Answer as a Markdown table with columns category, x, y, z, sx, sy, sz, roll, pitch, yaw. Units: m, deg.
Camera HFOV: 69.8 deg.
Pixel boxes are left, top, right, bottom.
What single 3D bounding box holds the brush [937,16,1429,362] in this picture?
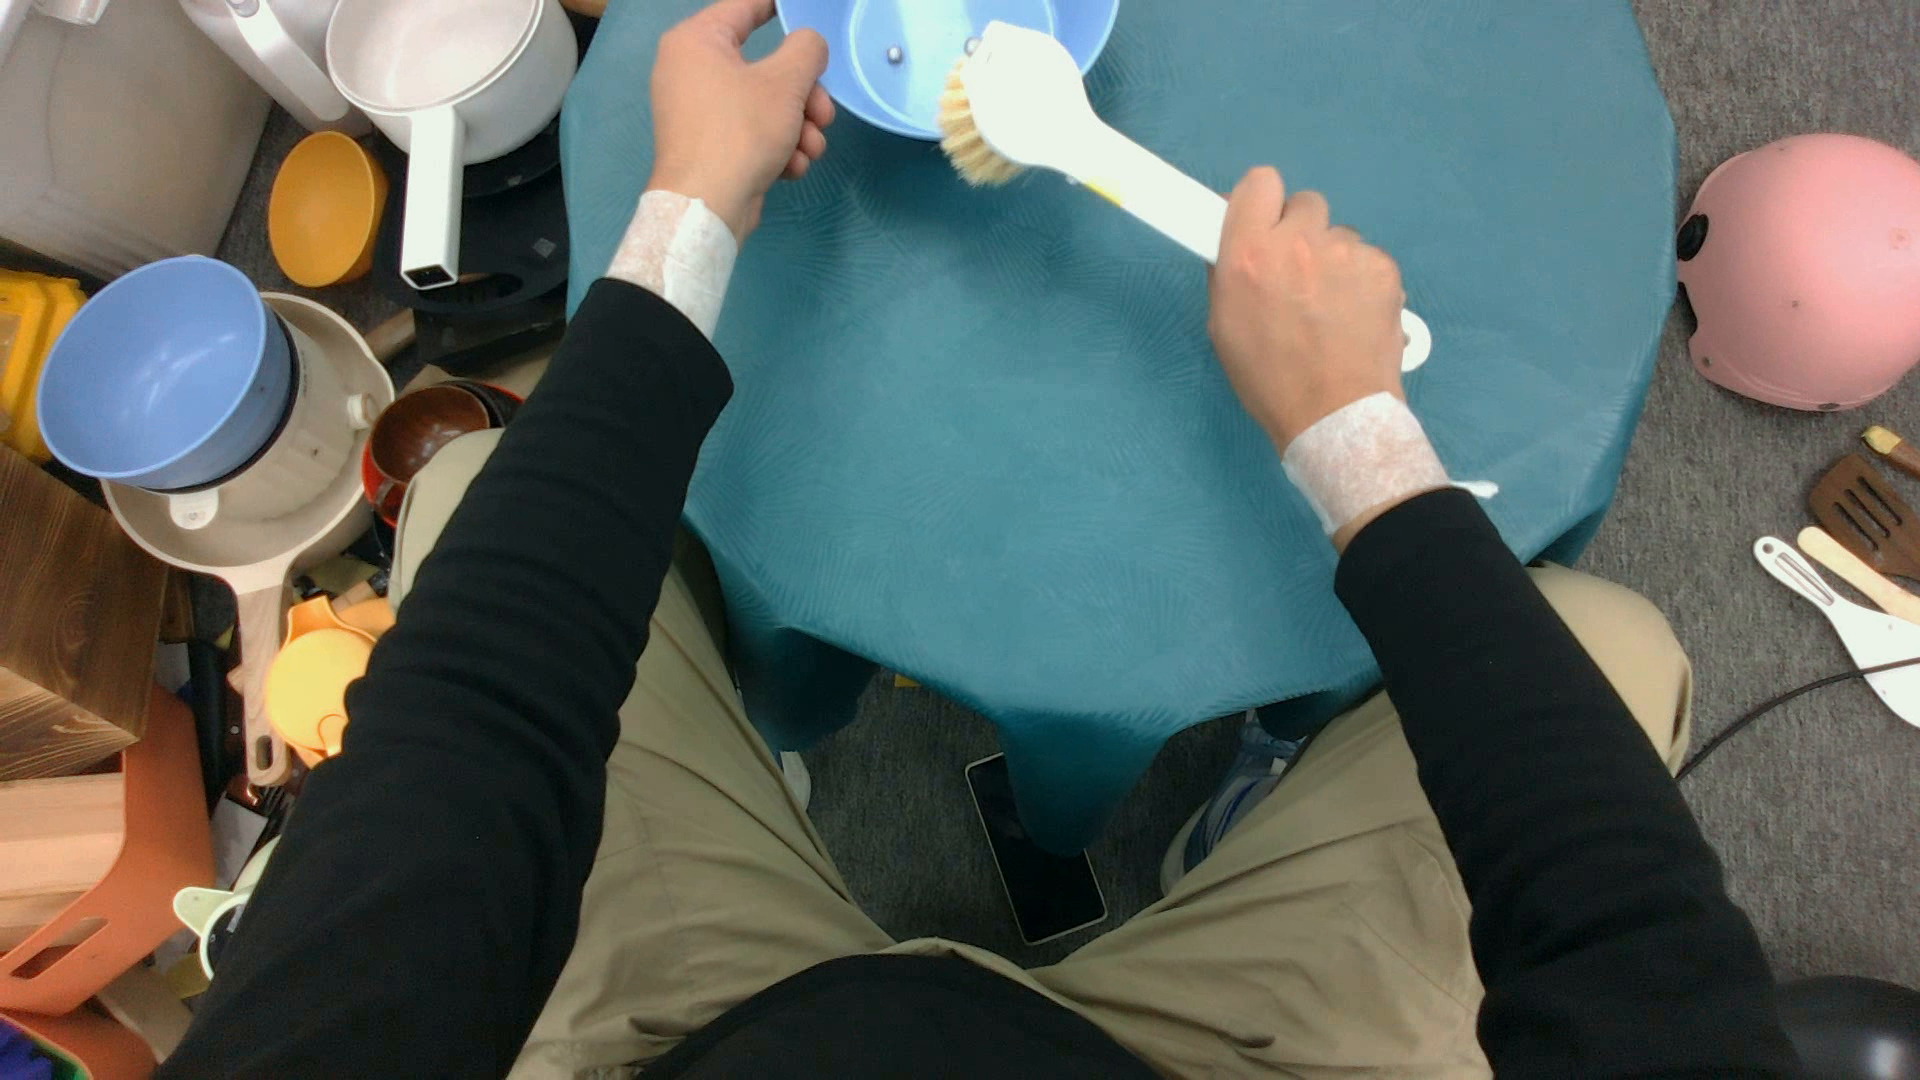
| category | x | y | z | sx | sy | sz | roll | pitch | yaw |
| --- | --- | --- | --- | --- | --- | --- | --- | --- | --- |
| brush | 0.106 | -0.162 | 0.668 | 0.266 | 0.056 | 0.068 | 32 | 85 | -6 |

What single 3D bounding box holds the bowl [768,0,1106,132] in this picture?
| category | x | y | z | sx | sy | sz | roll | pitch | yaw |
| --- | --- | --- | --- | --- | --- | --- | --- | --- | --- |
| bowl | -0.011 | -0.285 | 0.727 | 0.176 | 0.070 | 0.176 | 0 | 80 | 1 |
